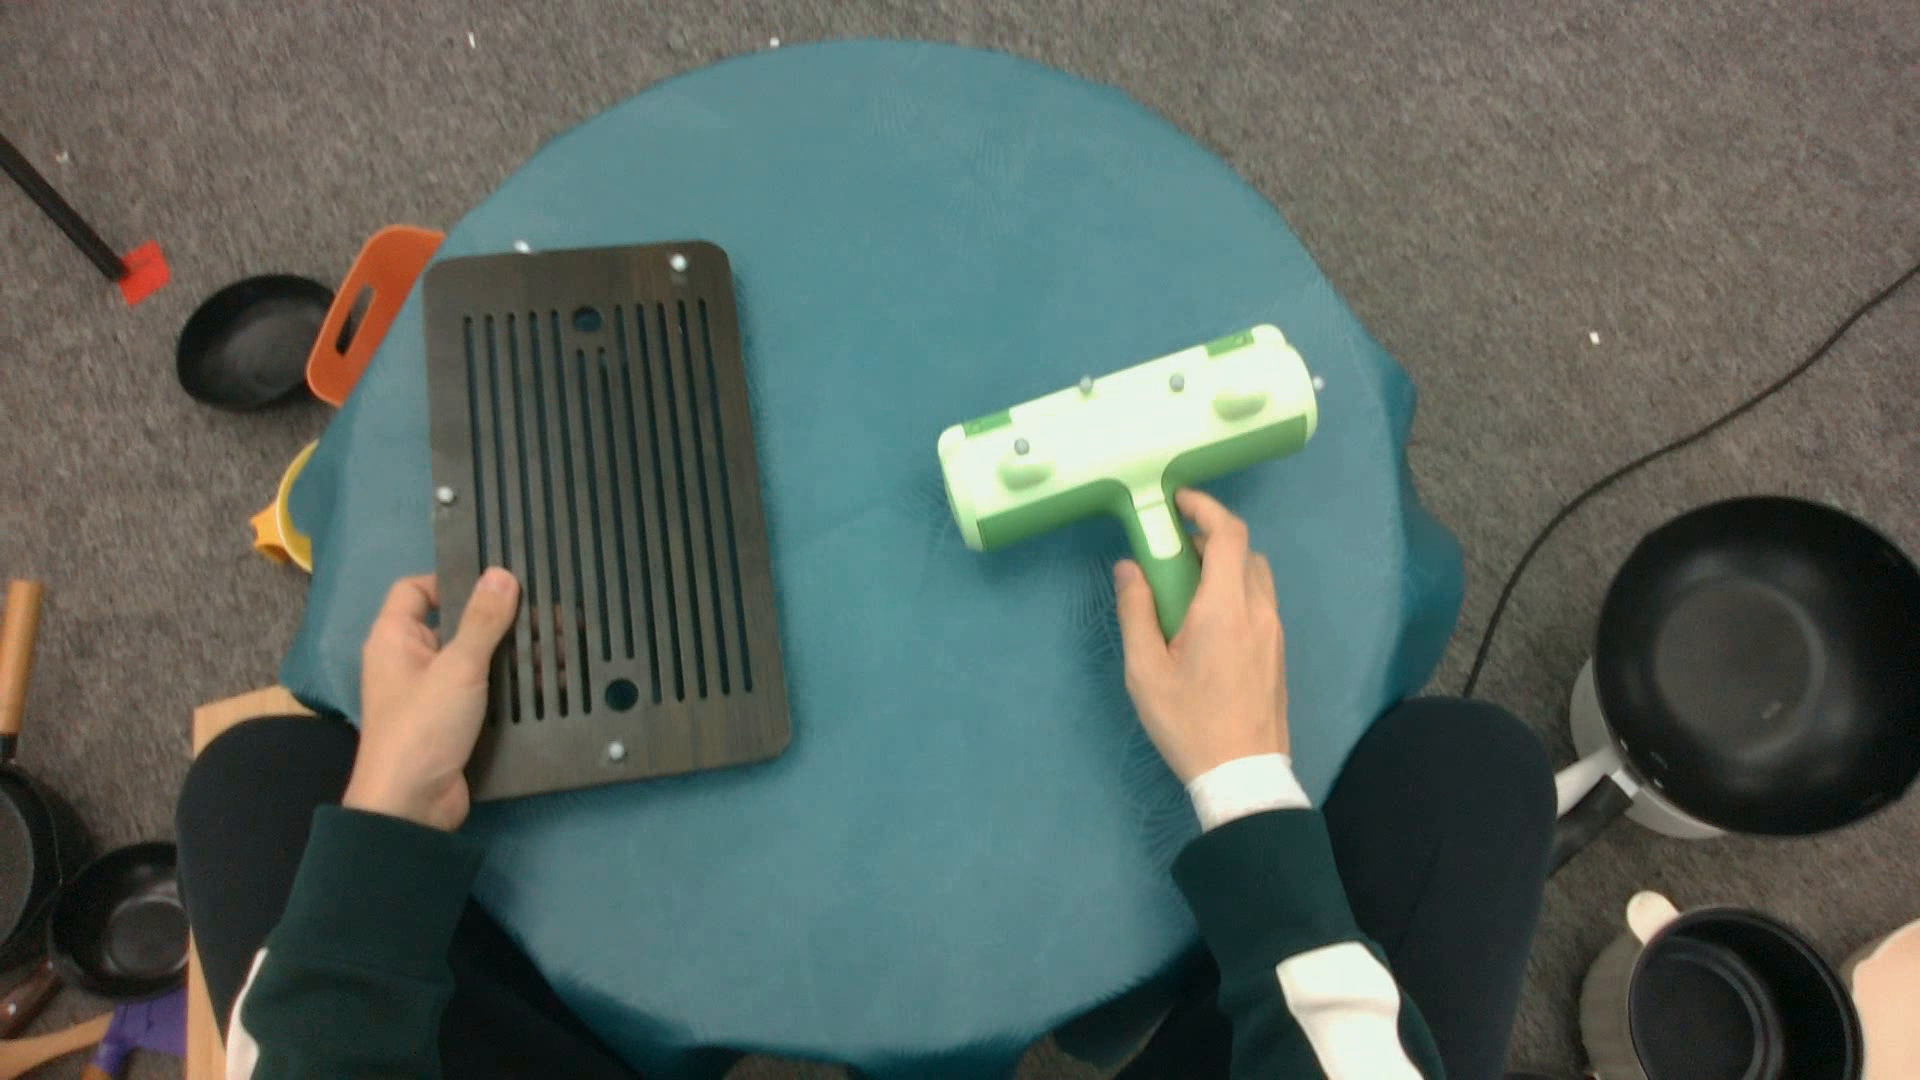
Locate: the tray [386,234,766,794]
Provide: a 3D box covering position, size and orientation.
[{"bbox_3d":[-0.210,-0.025,0.743,0.170,0.018,0.306,-8,71,-11],"label":"tray"}]

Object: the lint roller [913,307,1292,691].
[{"bbox_3d":[0.093,-0.015,0.702,0.199,0.082,0.184,-19,69,-3],"label":"lint roller"}]
